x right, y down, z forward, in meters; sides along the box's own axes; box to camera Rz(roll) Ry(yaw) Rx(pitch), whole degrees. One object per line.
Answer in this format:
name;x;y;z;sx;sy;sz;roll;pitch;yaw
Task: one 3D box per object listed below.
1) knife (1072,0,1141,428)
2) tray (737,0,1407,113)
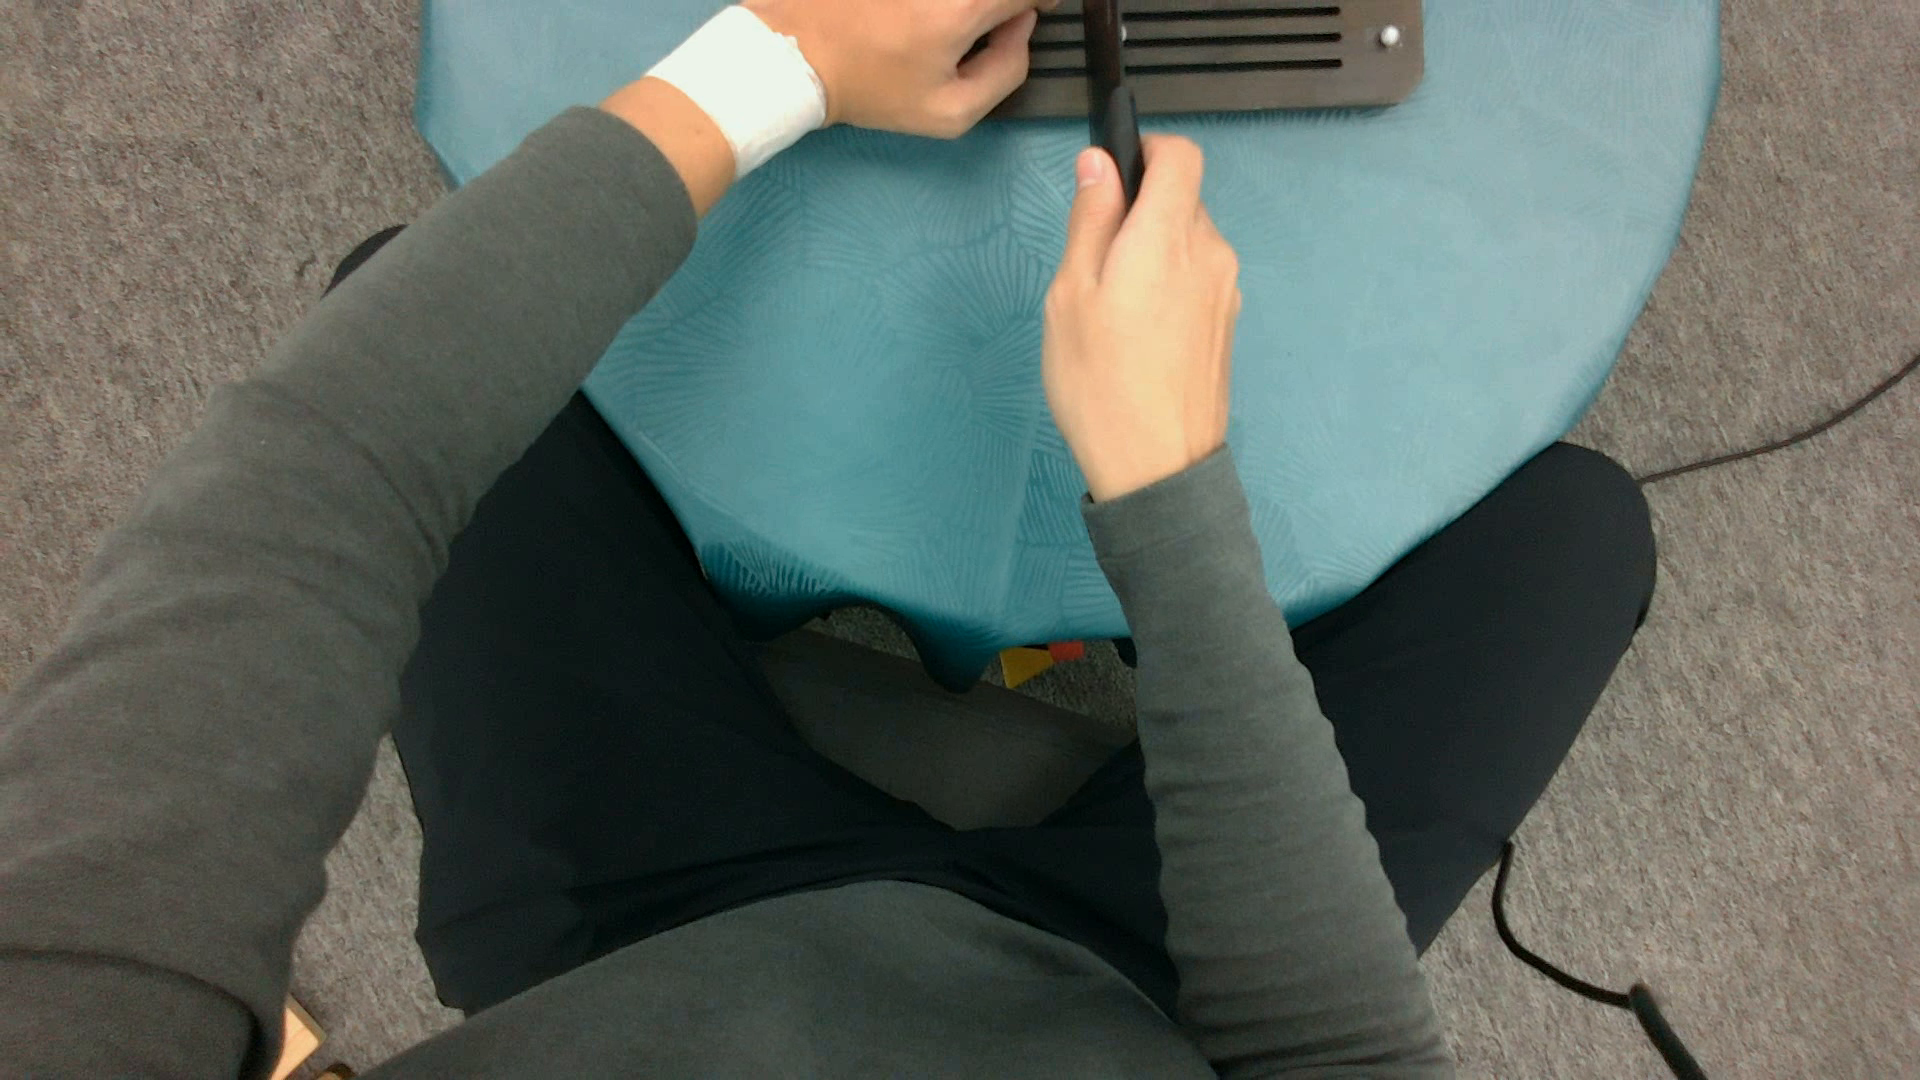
knife;0.052;-0.196;0.547;0.021;0.081;0.302;-3;88;-4
tray;0.051;-0.283;0.628;0.306;0.018;0.170;-2;92;-4
